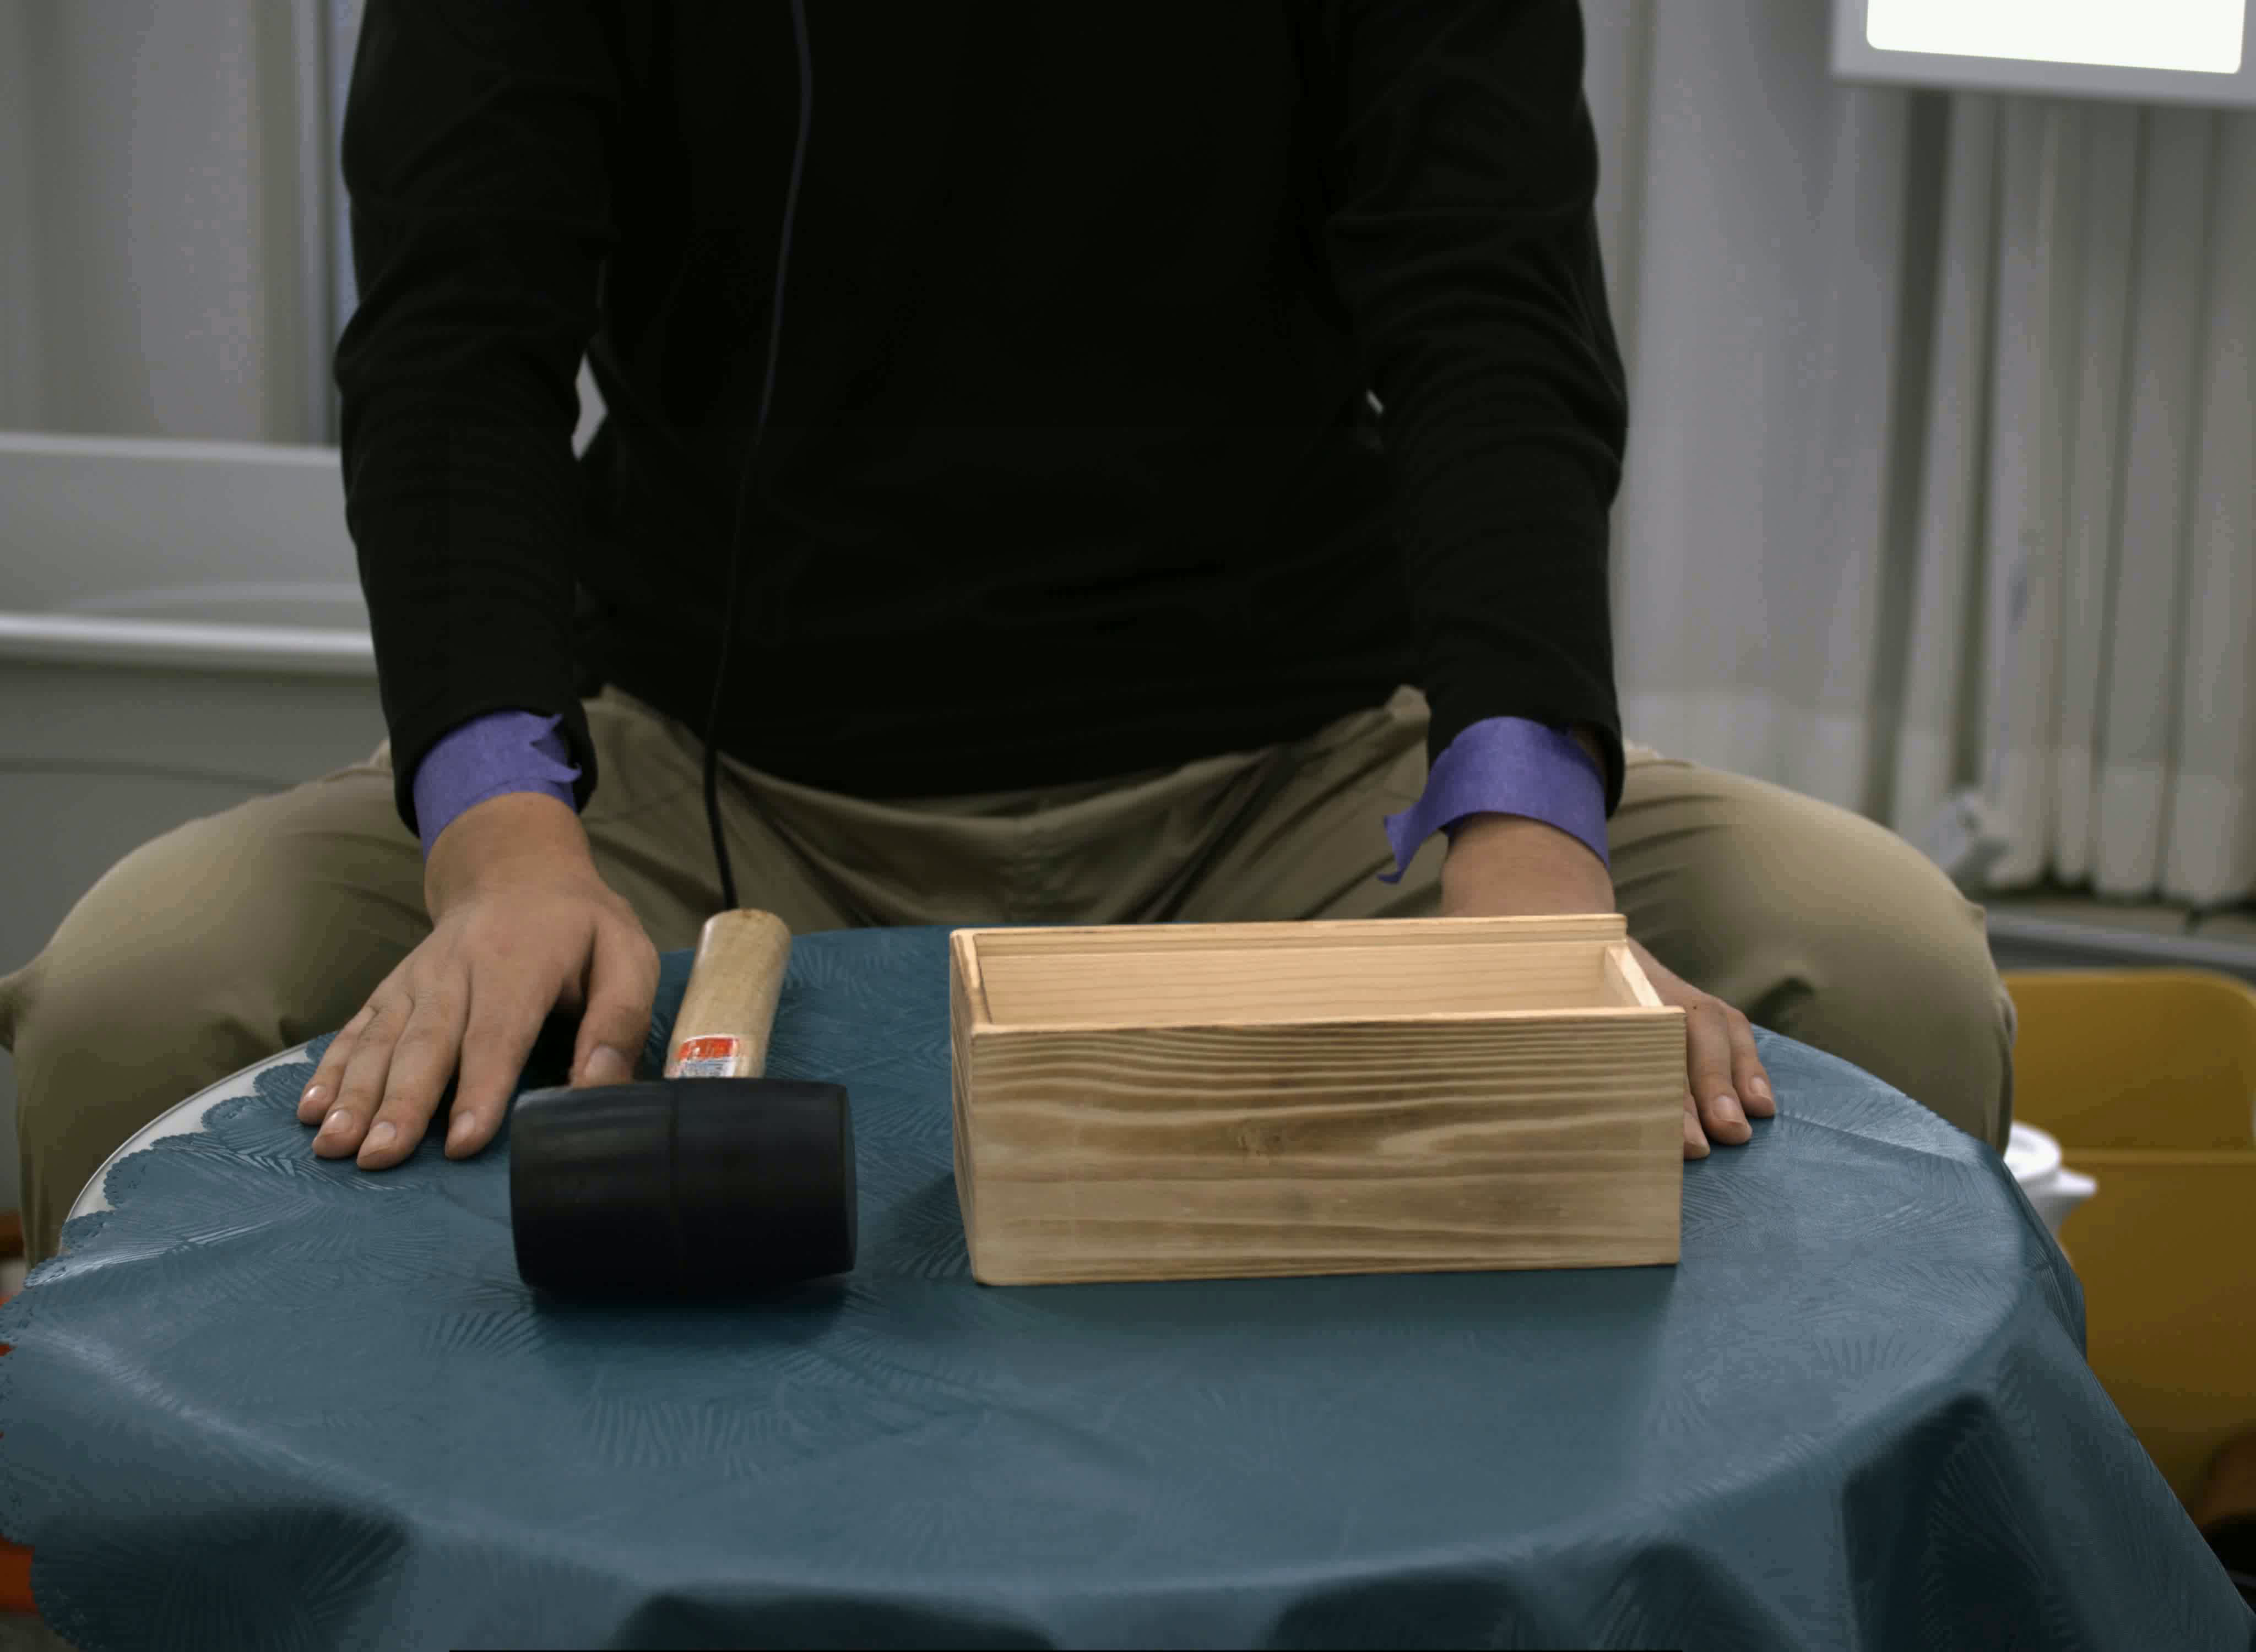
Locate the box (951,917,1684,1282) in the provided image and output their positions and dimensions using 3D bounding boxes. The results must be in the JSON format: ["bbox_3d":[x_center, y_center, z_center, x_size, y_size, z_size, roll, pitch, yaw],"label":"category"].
[{"bbox_3d":[0.054,0.081,1.588,0.211,0.081,0.107,-1,15,-6],"label":"box"}]

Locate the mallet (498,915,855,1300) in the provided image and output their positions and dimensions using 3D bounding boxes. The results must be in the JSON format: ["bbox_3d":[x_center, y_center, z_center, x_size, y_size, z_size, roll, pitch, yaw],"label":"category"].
[{"bbox_3d":[-0.129,0.070,1.660,0.101,0.065,0.337,2,15,0],"label":"mallet"}]
